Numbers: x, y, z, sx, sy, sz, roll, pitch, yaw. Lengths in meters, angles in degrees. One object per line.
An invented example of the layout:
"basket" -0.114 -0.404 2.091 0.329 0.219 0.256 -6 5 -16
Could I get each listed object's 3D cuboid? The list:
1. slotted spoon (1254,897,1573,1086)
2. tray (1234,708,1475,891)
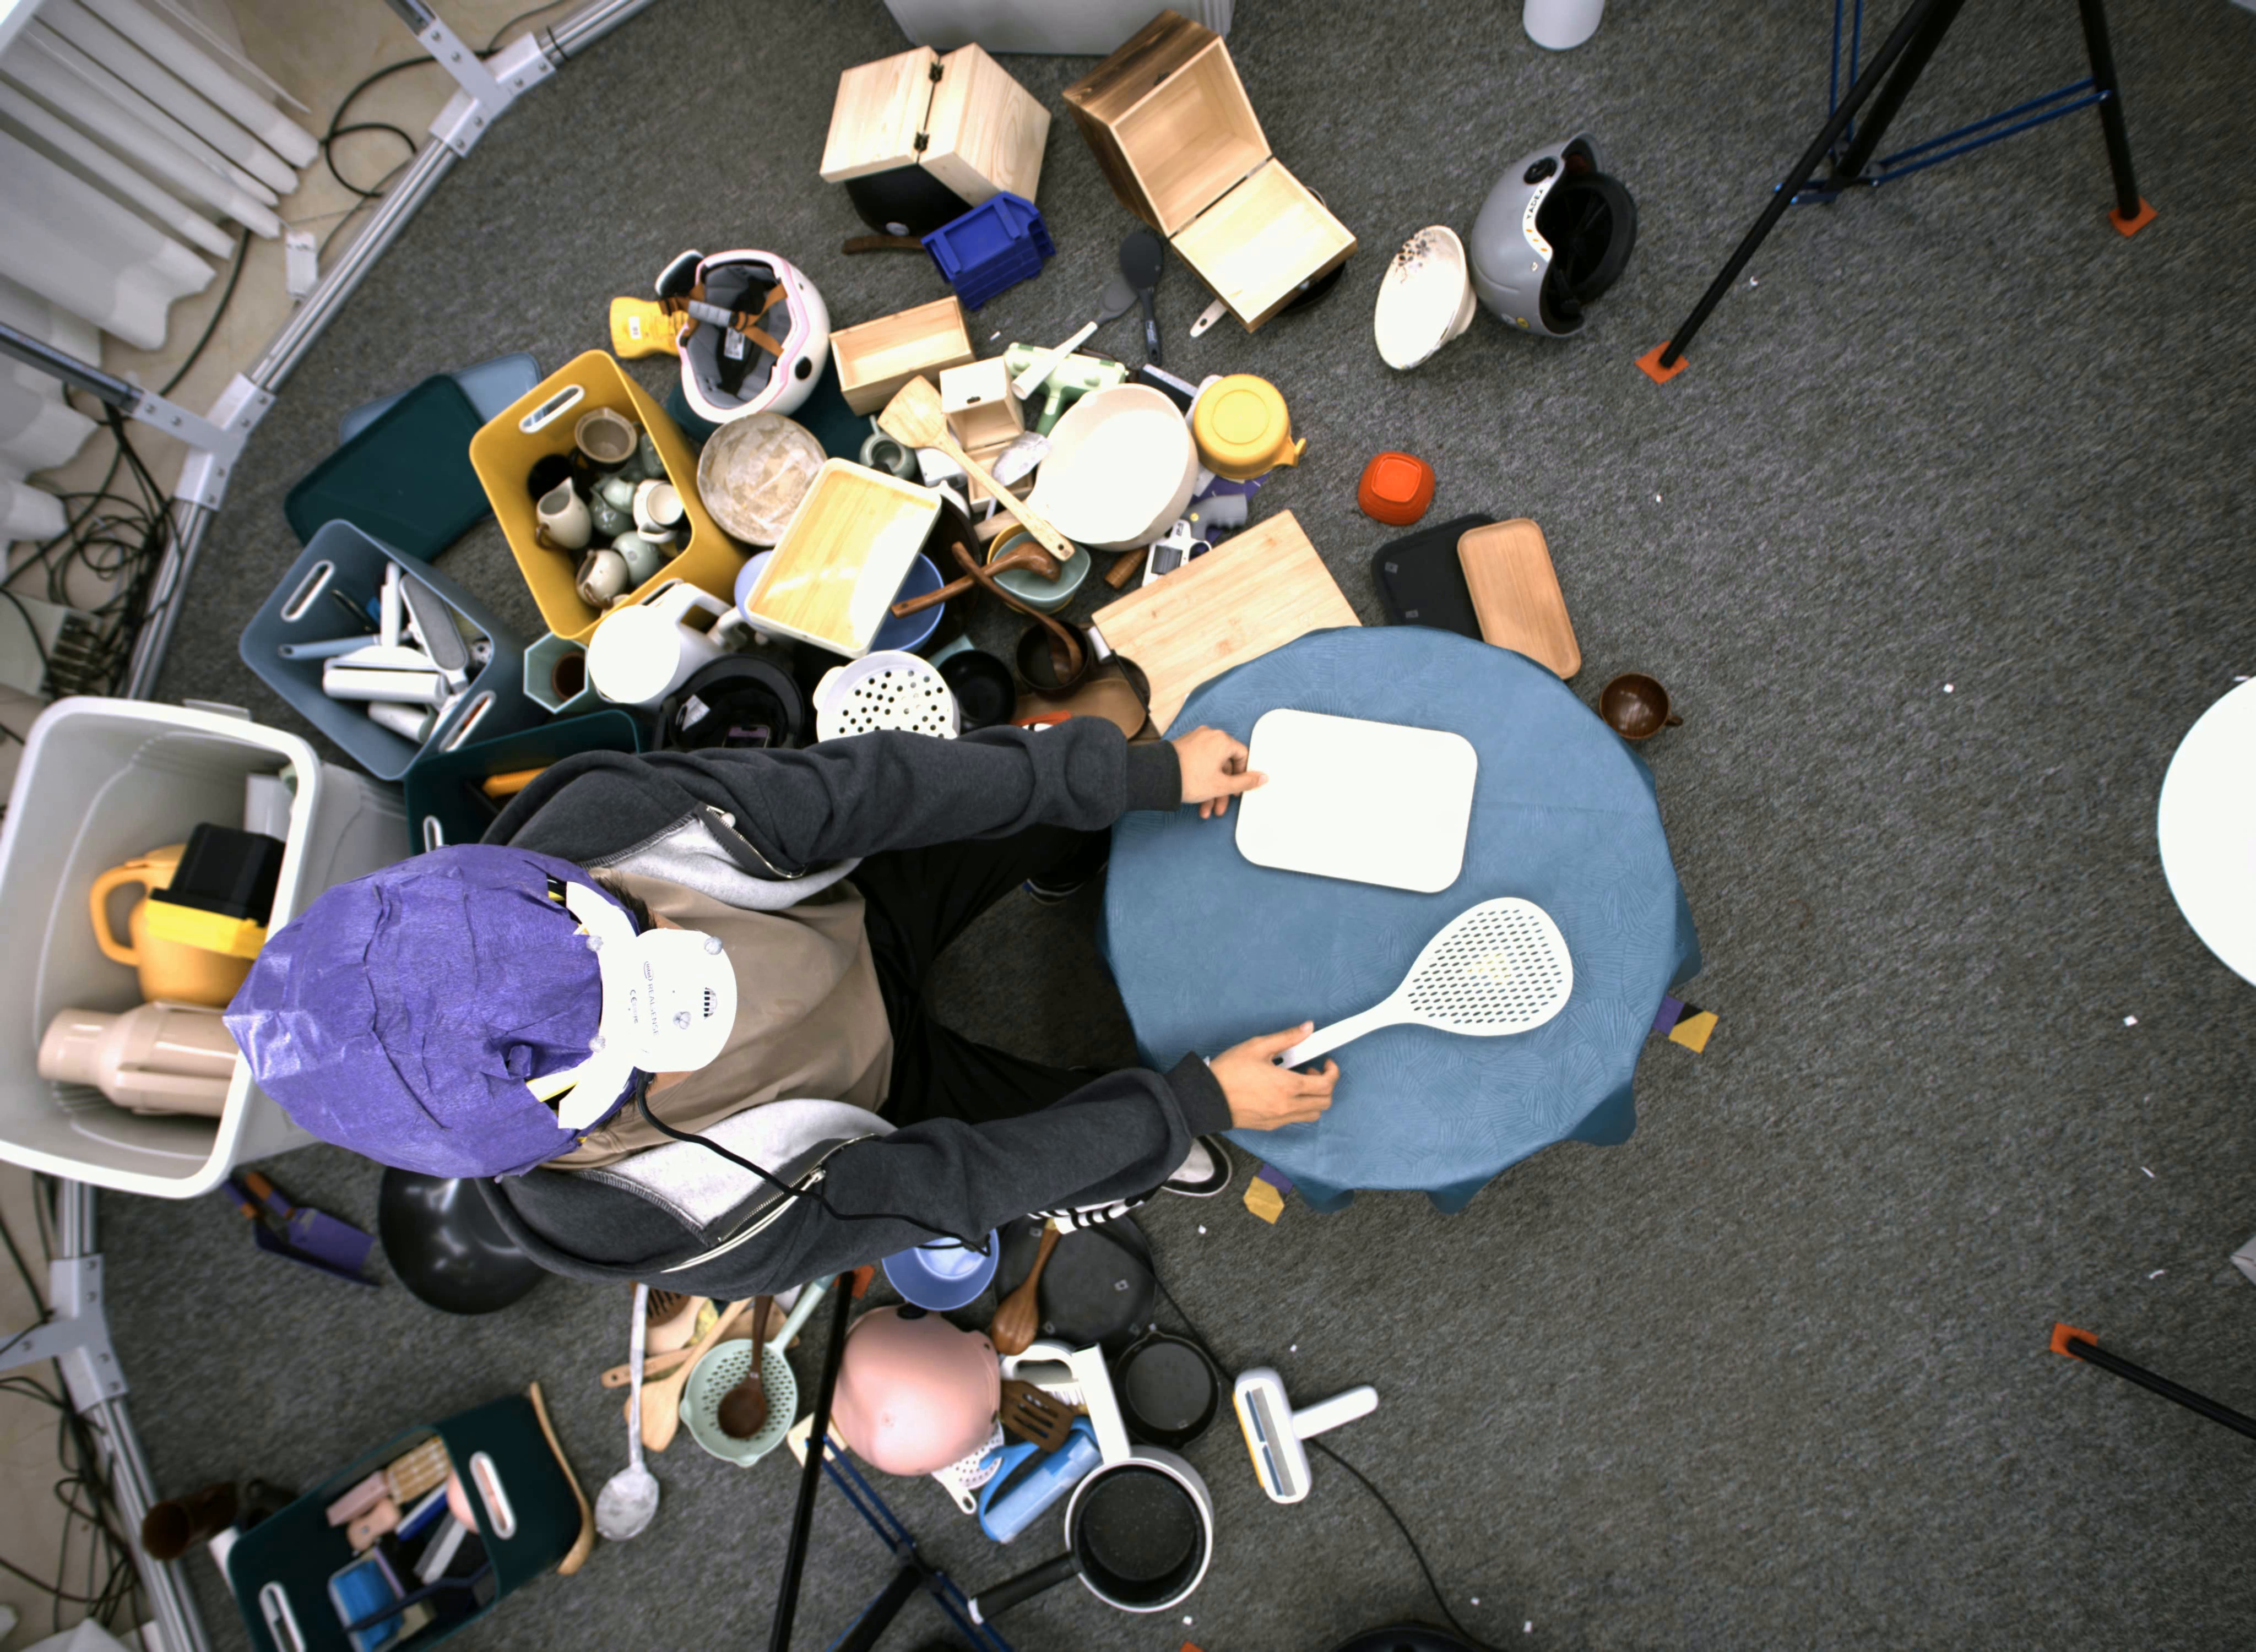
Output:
"slotted spoon" 0.285 0.187 1.429 0.350 0.050 0.136 -25 84 8
"tray" 0.239 -0.030 1.461 0.240 0.017 0.171 9 89 11
